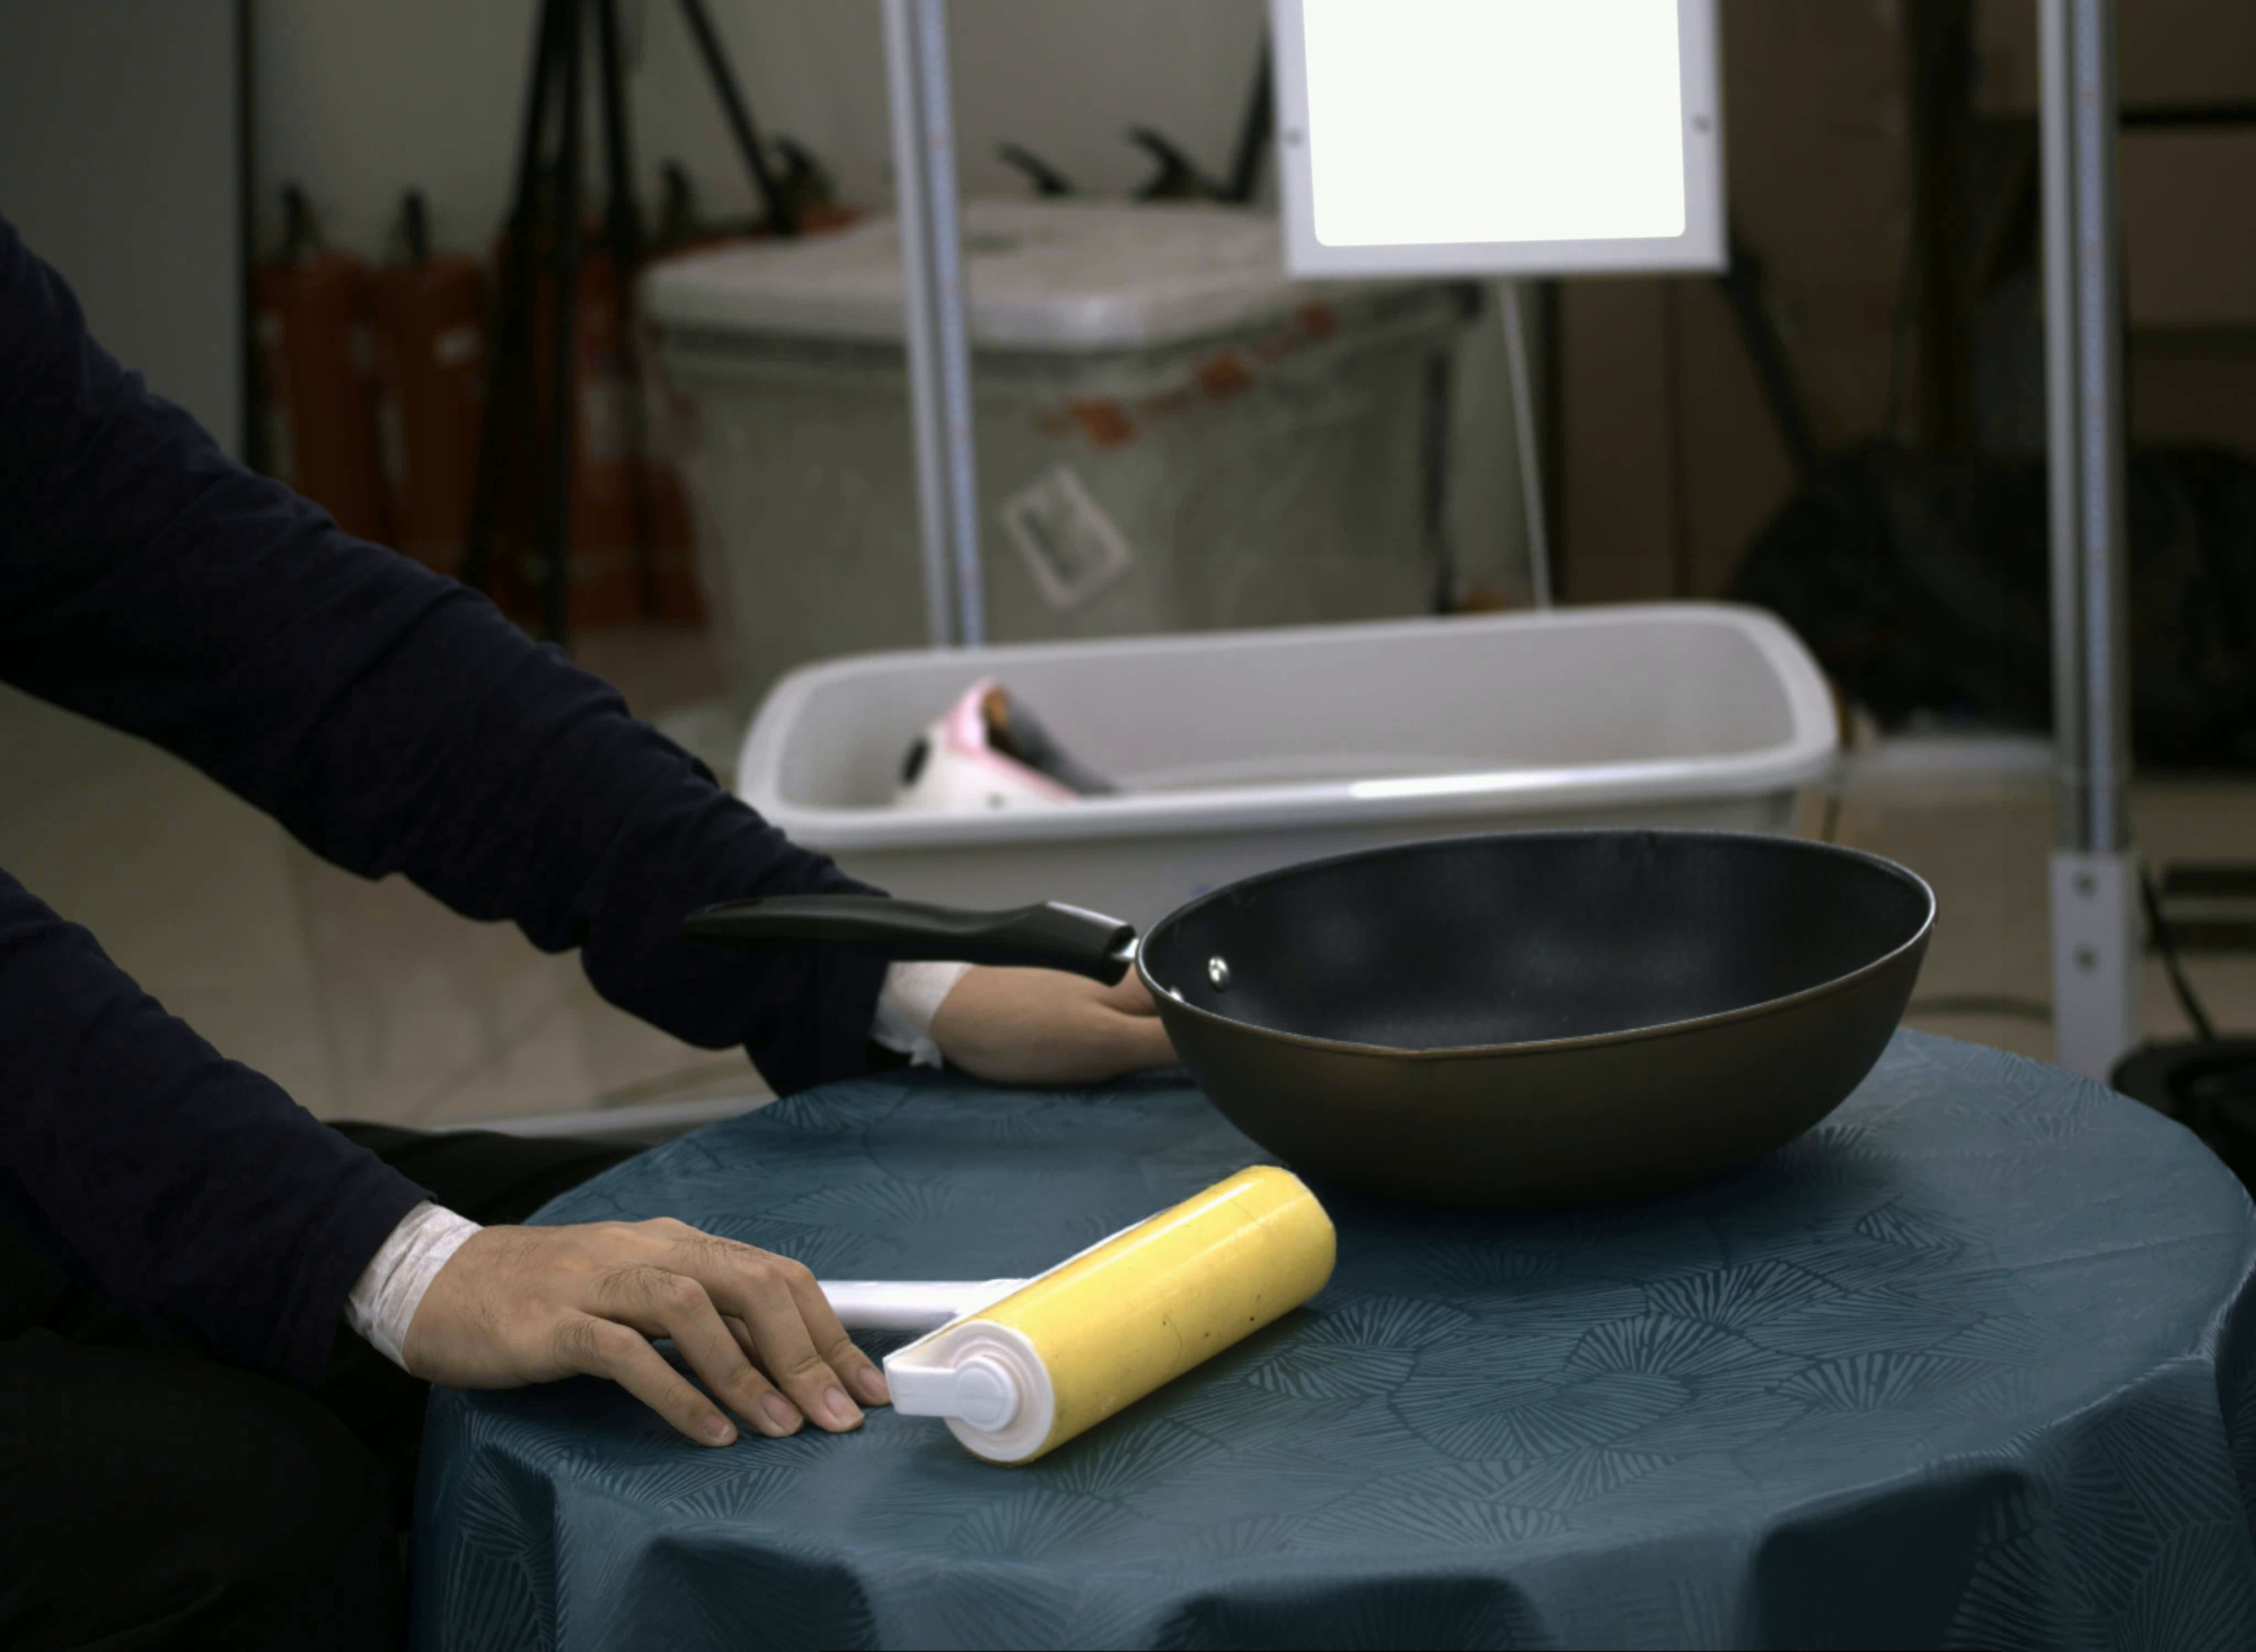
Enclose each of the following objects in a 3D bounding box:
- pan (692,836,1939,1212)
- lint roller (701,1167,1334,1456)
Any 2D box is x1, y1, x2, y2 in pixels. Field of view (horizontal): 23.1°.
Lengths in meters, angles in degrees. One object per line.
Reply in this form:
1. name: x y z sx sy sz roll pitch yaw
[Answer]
1. pan: 0.058 0.071 1.936 0.470 0.087 0.282 0 14 23
2. lint roller: -0.057 0.146 1.744 0.196 0.051 0.170 5 16 33
